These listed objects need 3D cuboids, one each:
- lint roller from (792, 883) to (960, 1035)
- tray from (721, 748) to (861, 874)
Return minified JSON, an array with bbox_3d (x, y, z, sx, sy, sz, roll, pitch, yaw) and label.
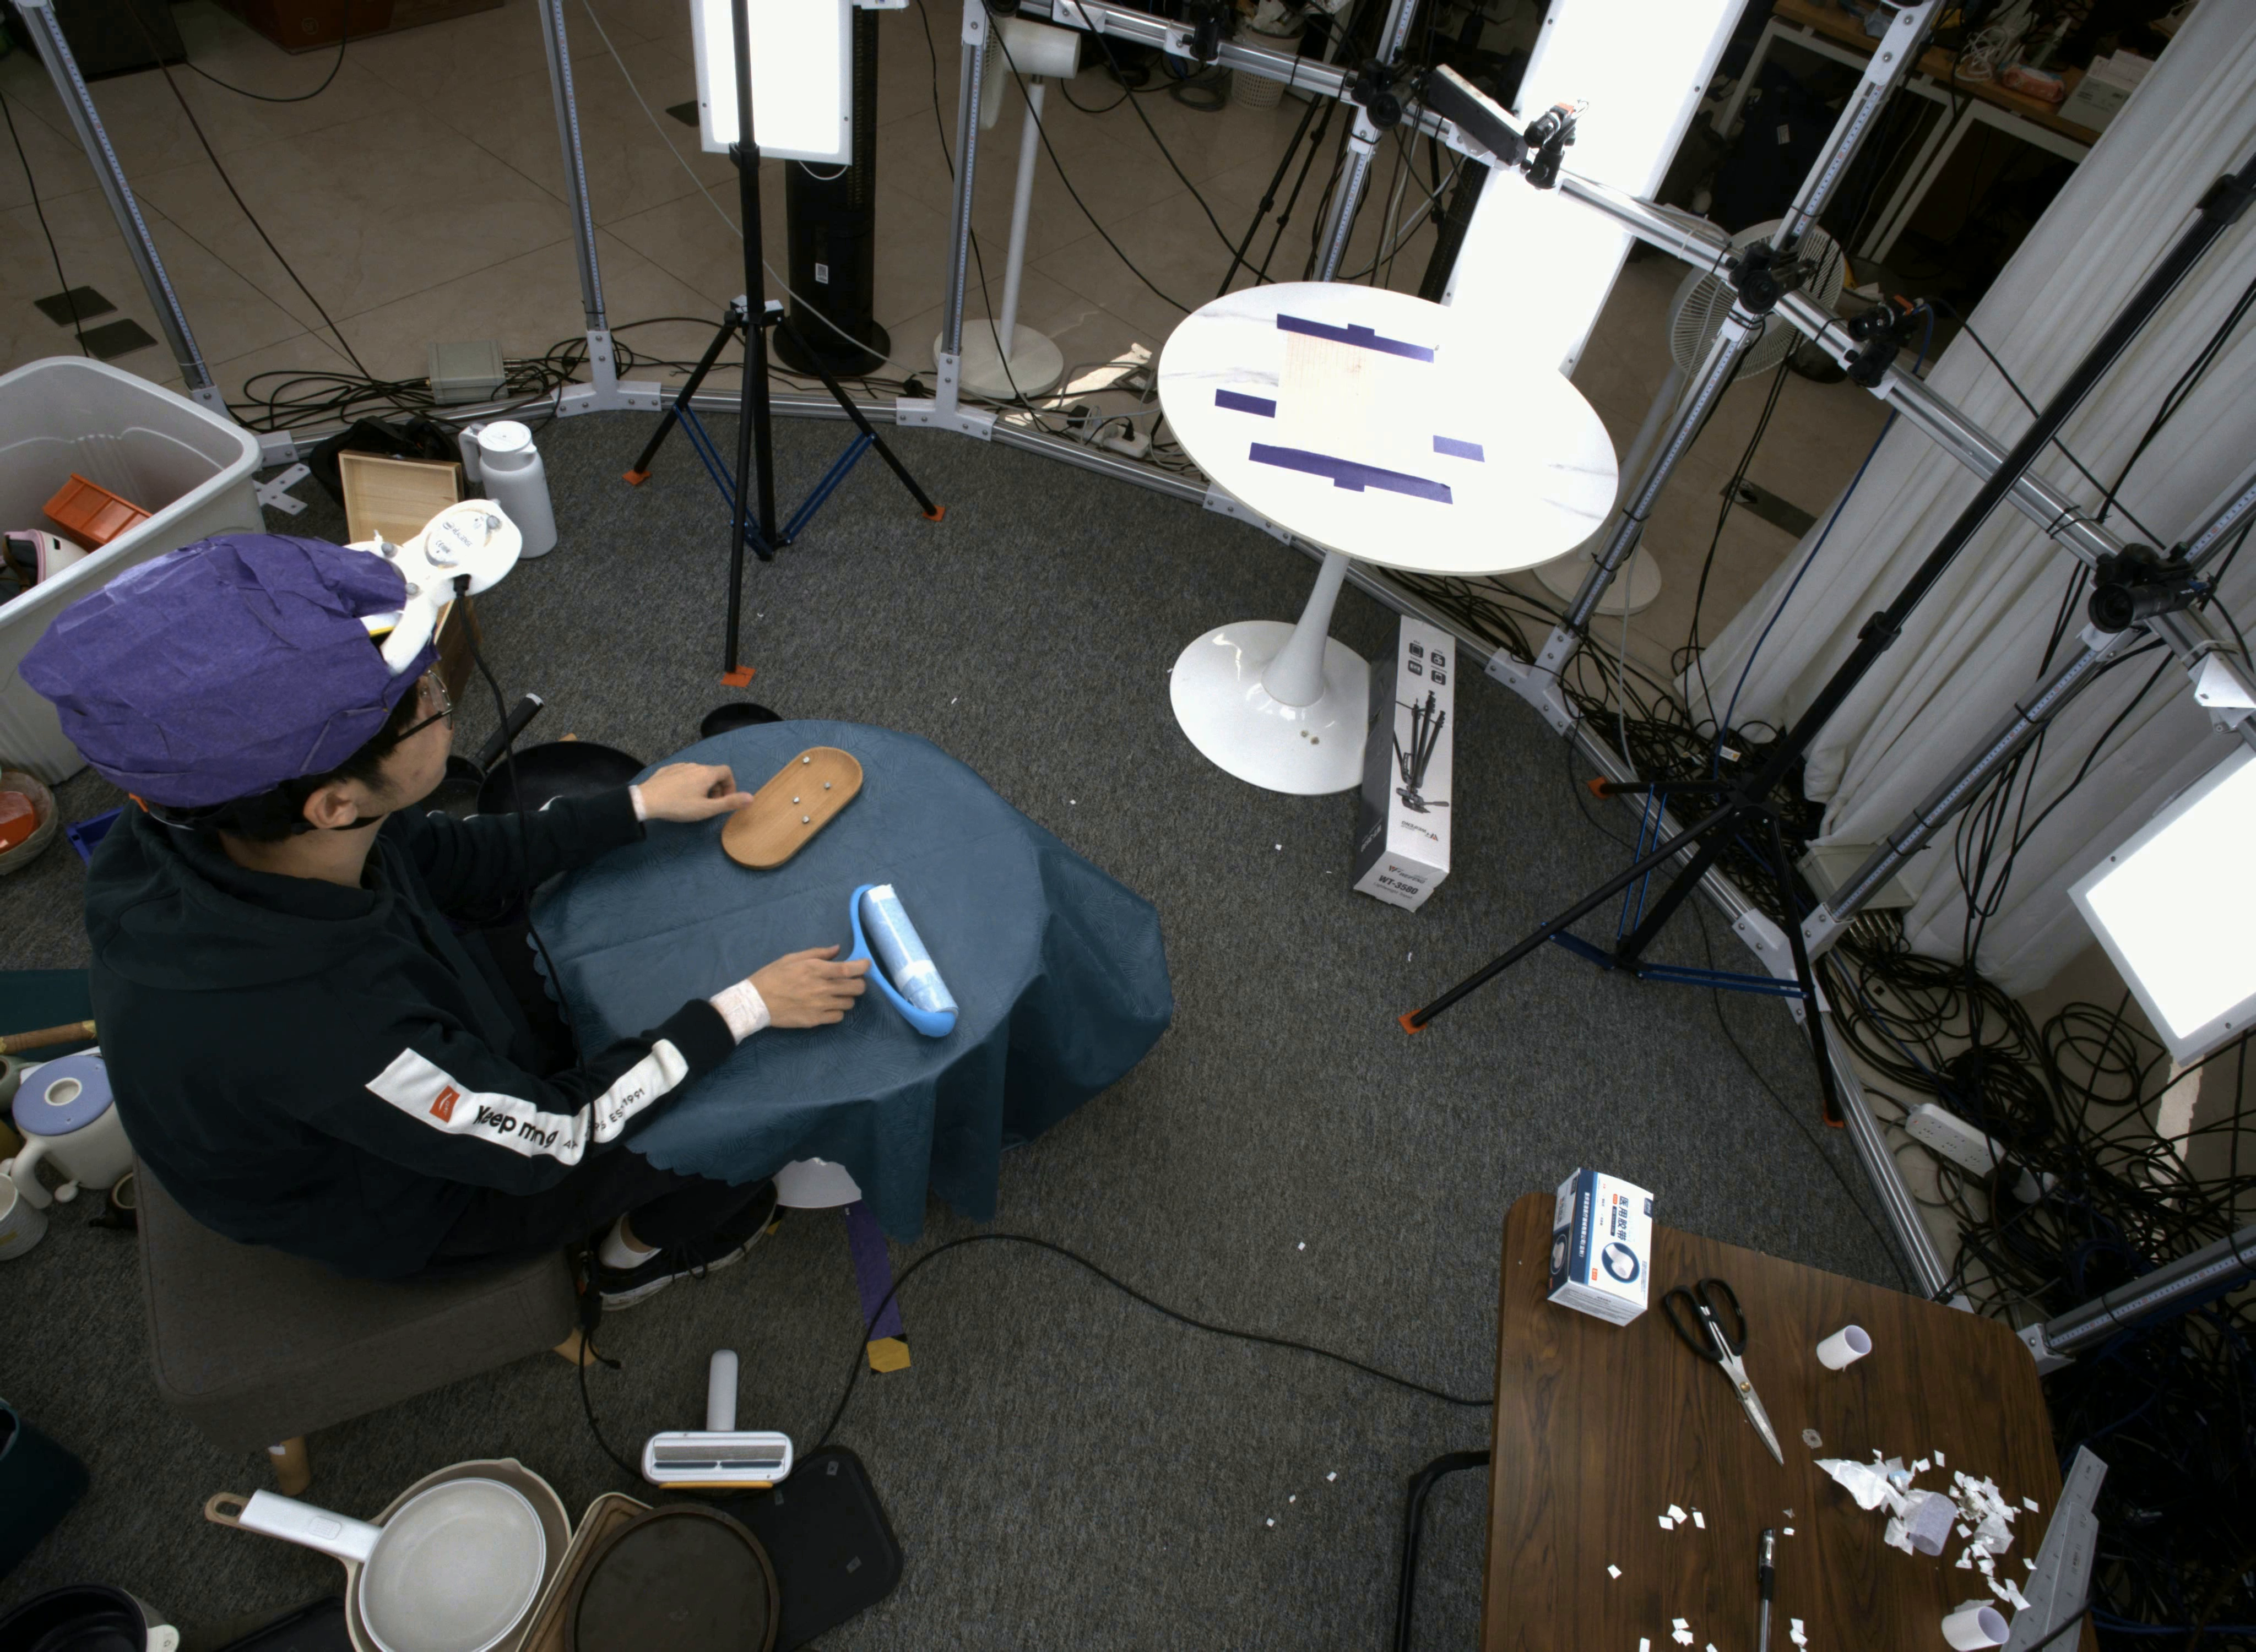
[{"bbox_3d":[-0.324,0.180,1.586,0.181,0.069,0.224,-22,64,-29],"label":"lint roller"},{"bbox_3d":[-0.447,-0.023,1.731,0.100,0.021,0.230,30,54,10],"label":"tray"}]
